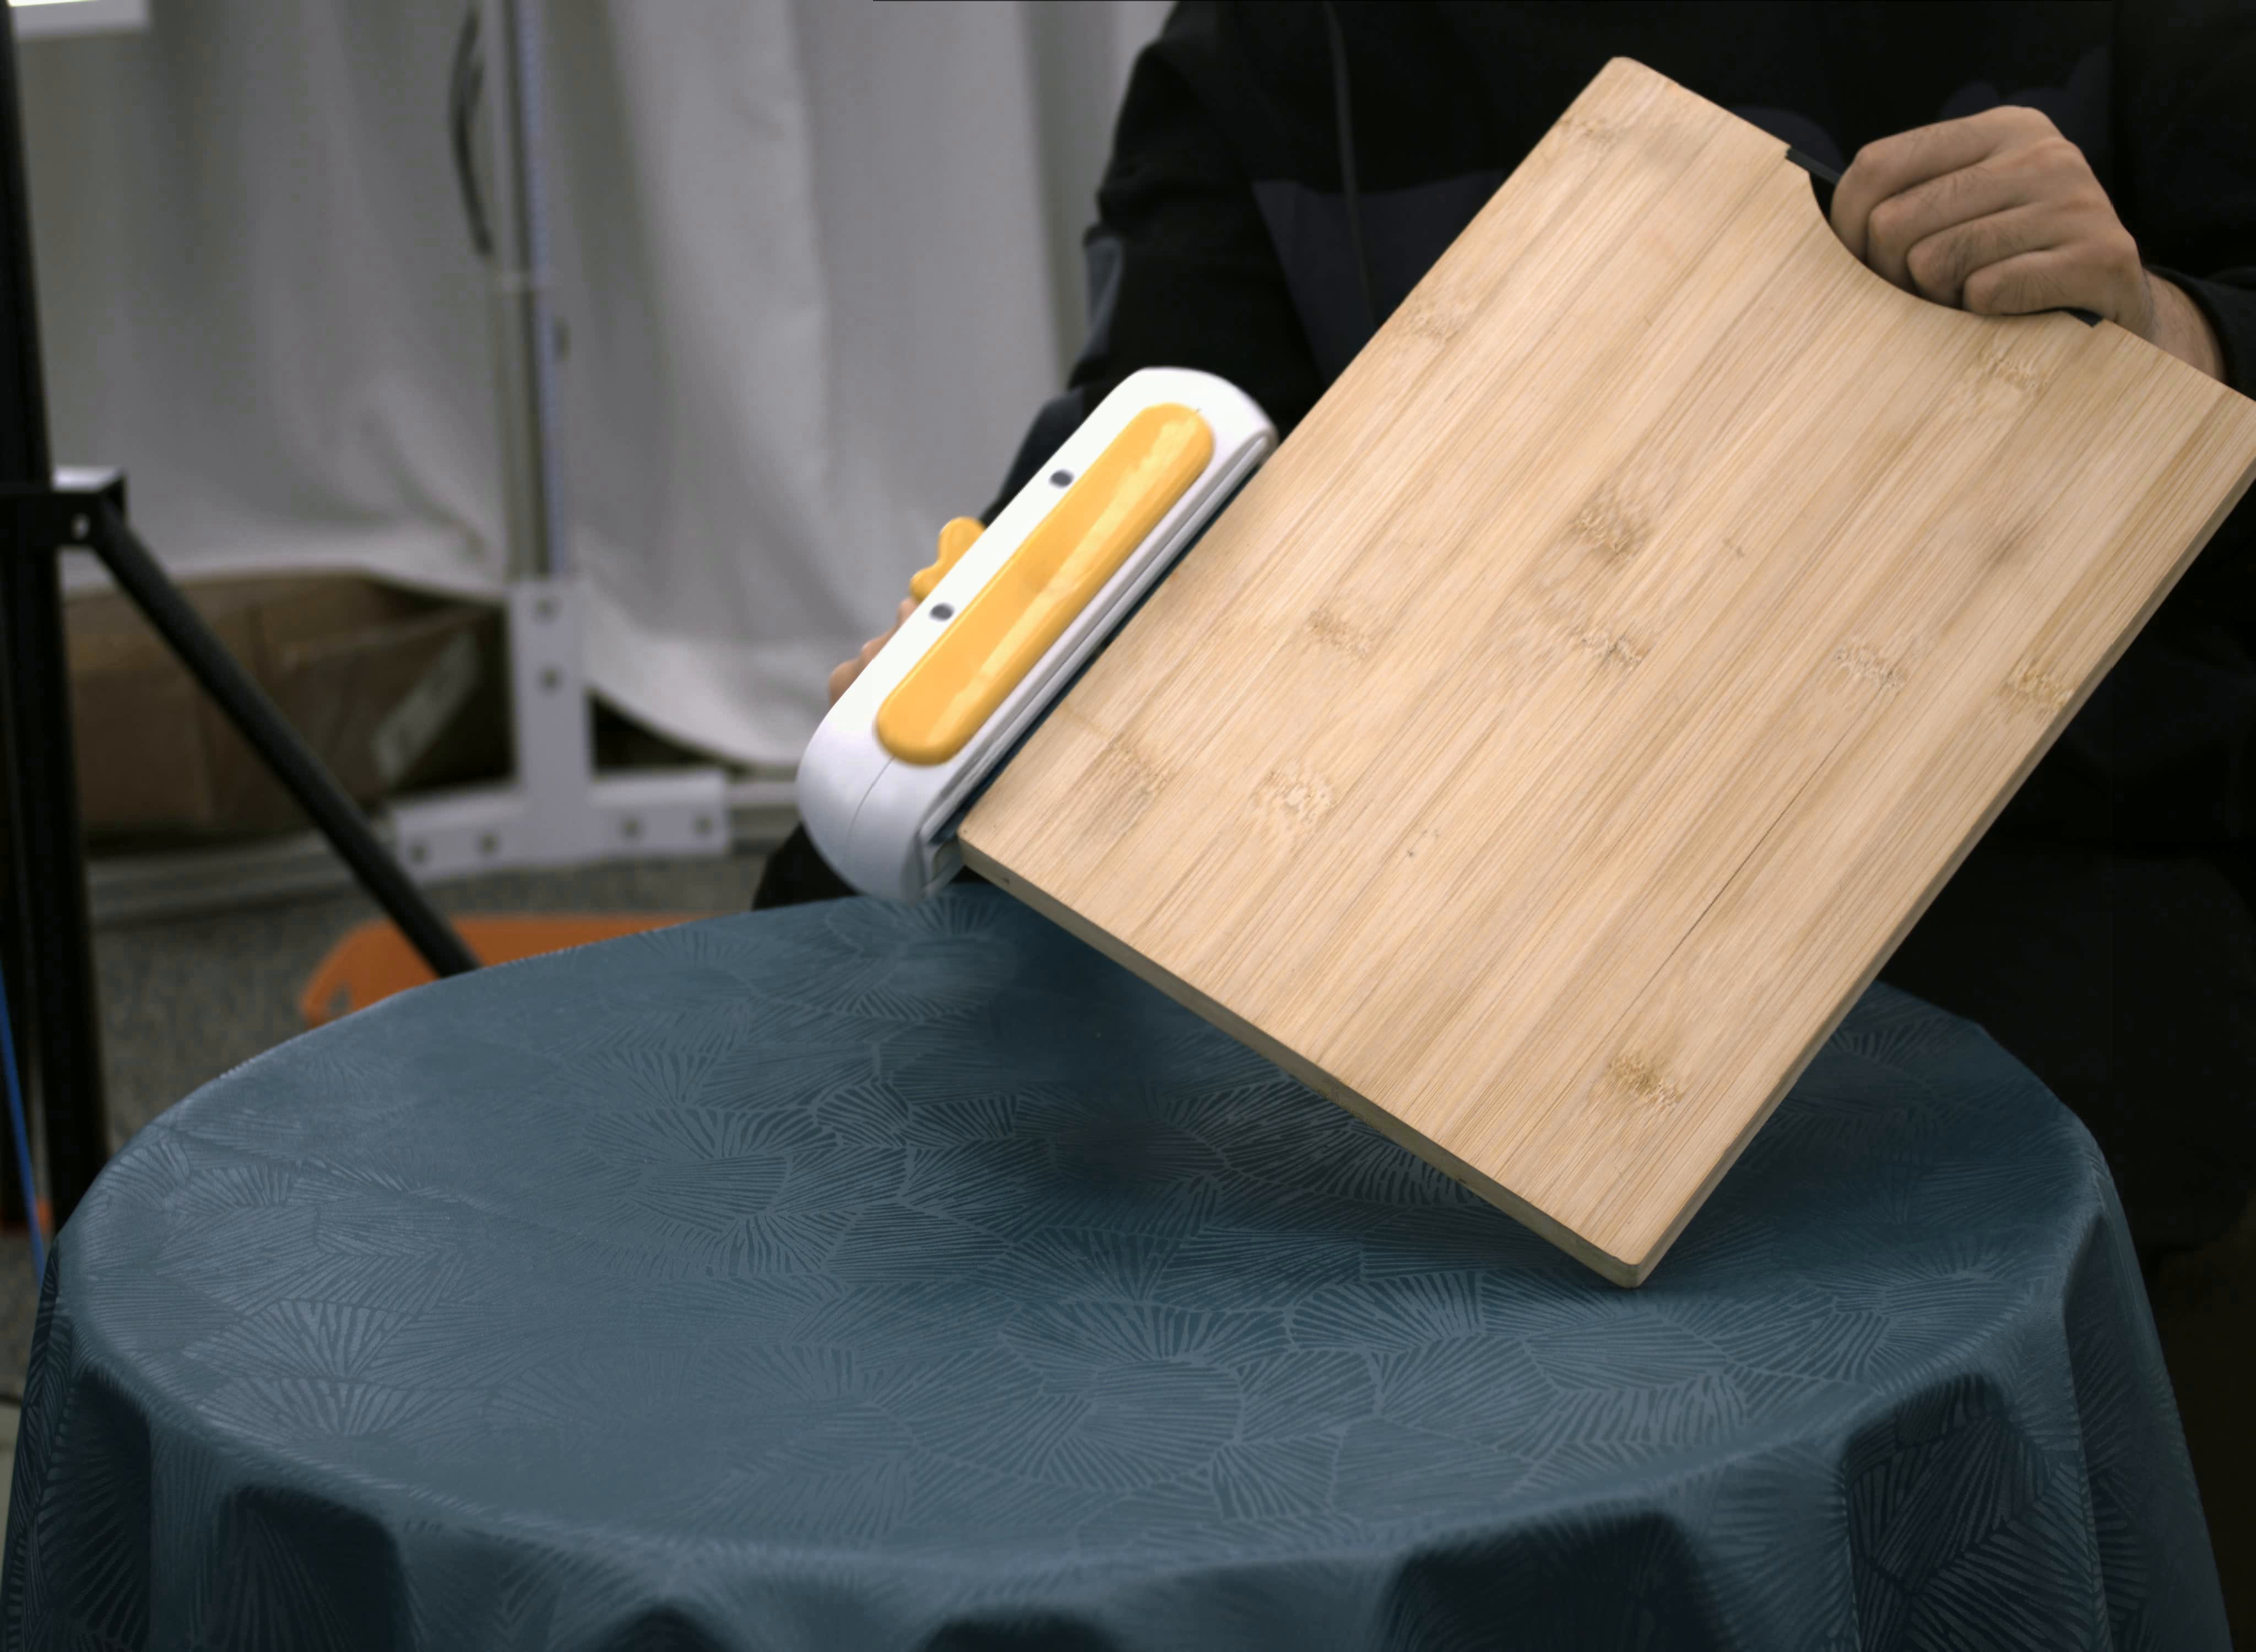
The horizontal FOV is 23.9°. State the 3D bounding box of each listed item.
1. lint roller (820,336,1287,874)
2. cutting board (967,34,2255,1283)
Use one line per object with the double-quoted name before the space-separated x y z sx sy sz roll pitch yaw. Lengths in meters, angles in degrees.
"lint roller" -0.034 -0.045 1.645 0.074 0.192 0.192 32 64 8
"cutting board" 0.150 -0.059 1.558 0.254 0.023 0.347 32 68 21
